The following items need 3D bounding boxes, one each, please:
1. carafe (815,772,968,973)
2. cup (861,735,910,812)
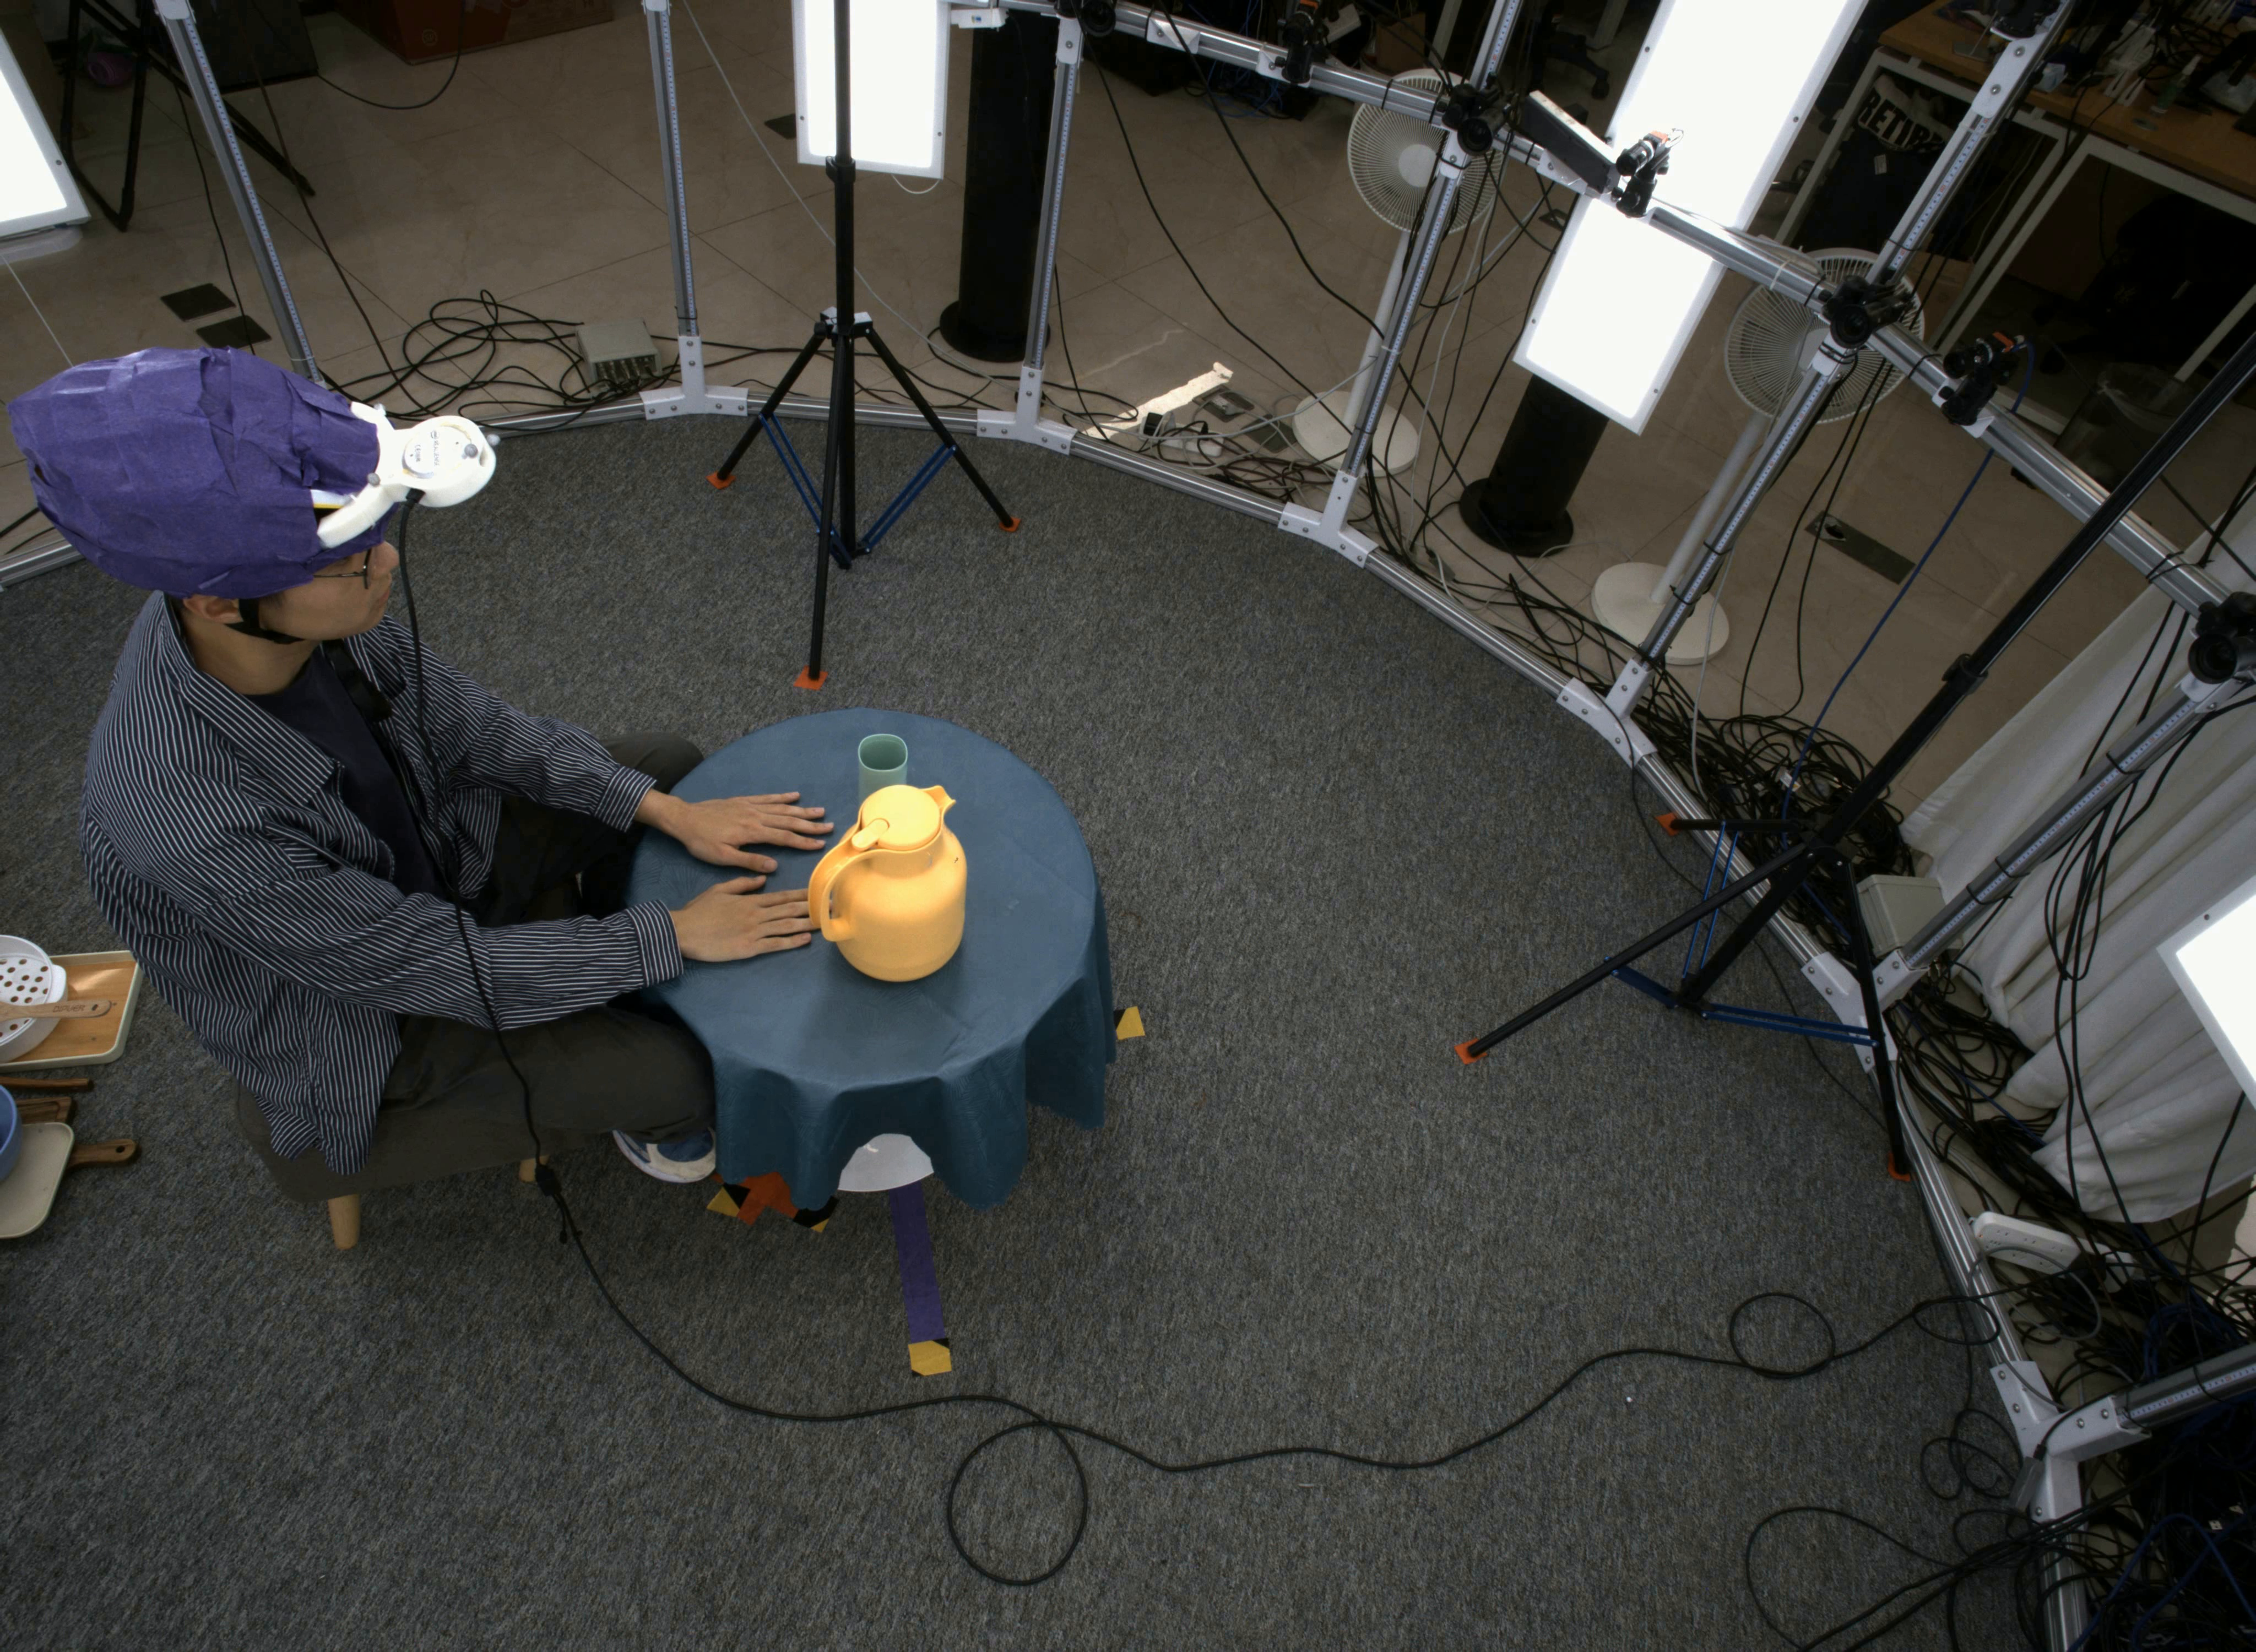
[{"bbox_3d":[-0.288,0.058,1.563,0.159,0.266,0.203,40,56,21],"label":"carafe"},{"bbox_3d":[-0.325,-0.054,1.723,0.066,0.135,0.065,7,51,-7],"label":"cup"}]
